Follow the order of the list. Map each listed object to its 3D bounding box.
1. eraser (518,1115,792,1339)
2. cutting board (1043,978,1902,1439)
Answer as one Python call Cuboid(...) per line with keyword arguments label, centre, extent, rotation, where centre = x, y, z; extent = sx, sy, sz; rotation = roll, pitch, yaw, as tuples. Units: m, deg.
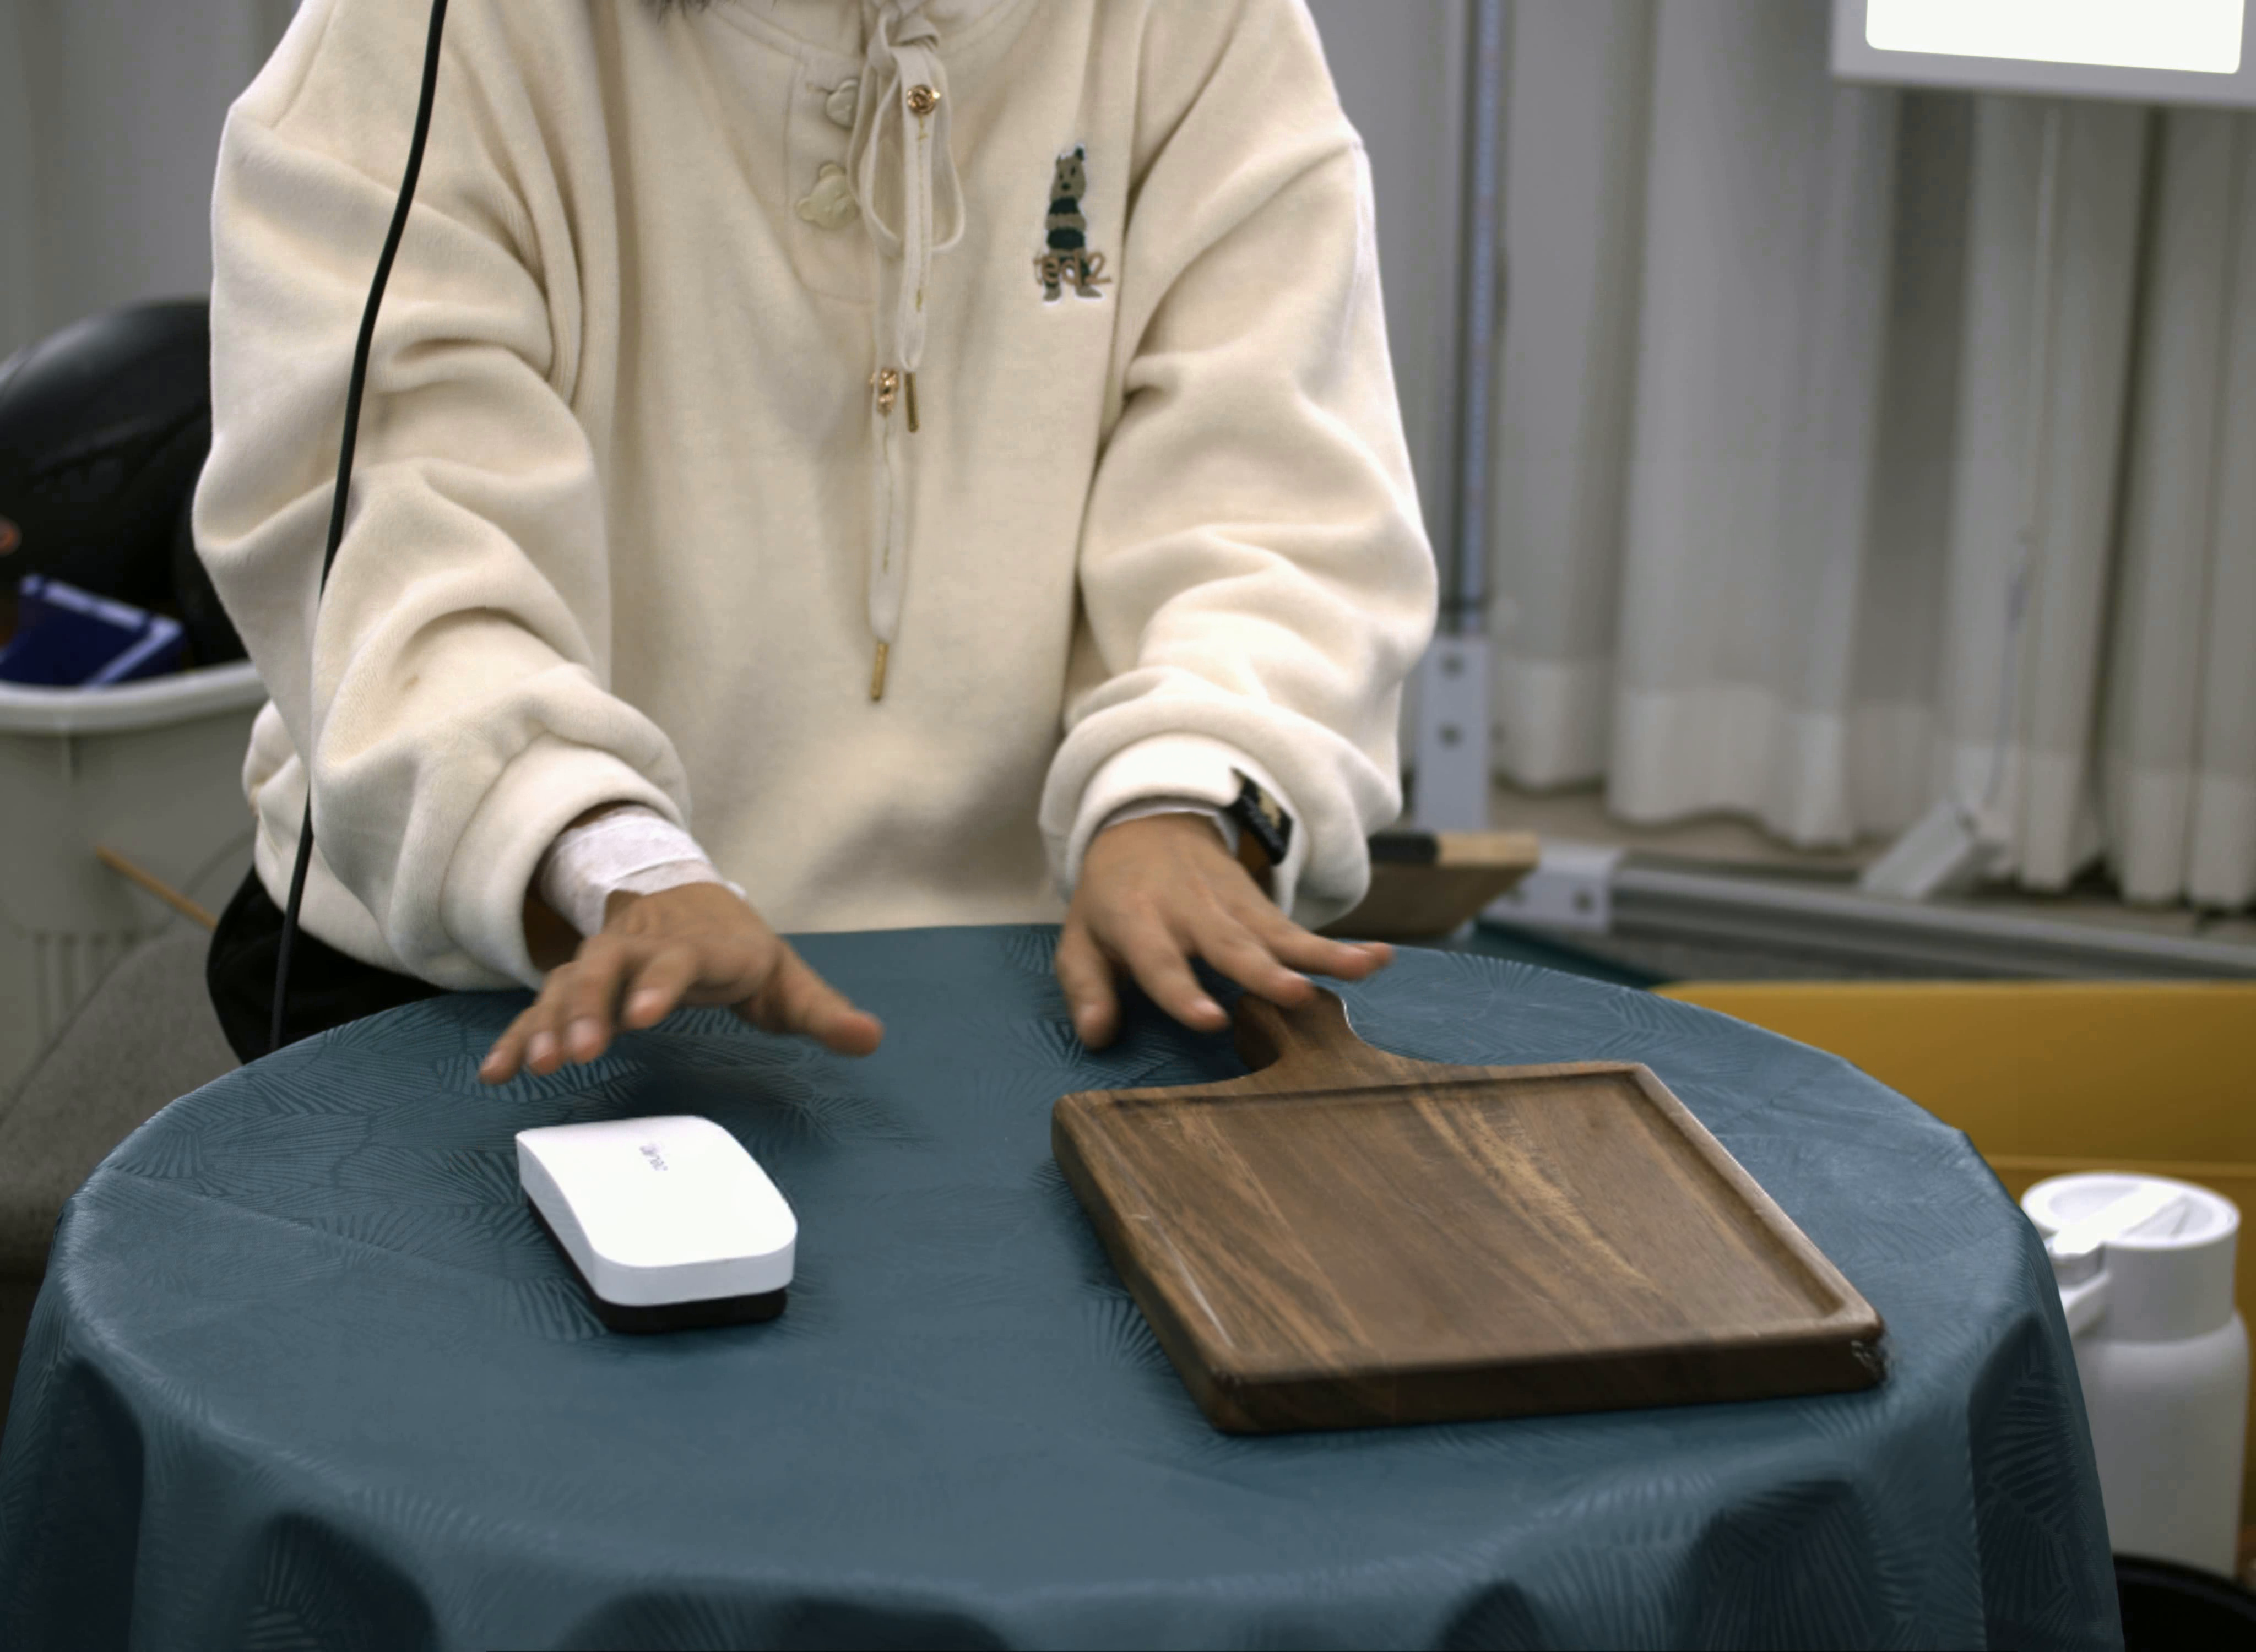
Cuboid(label="eraser", centre=(-0.139, 0.113, 1.555), extent=(0.063, 0.035, 0.130), rotation=(-5, 17, -16))
Cuboid(label="cutting board", centre=(0.085, 0.107, 1.603), extent=(0.201, 0.023, 0.349), rotation=(-2, 16, -12))
